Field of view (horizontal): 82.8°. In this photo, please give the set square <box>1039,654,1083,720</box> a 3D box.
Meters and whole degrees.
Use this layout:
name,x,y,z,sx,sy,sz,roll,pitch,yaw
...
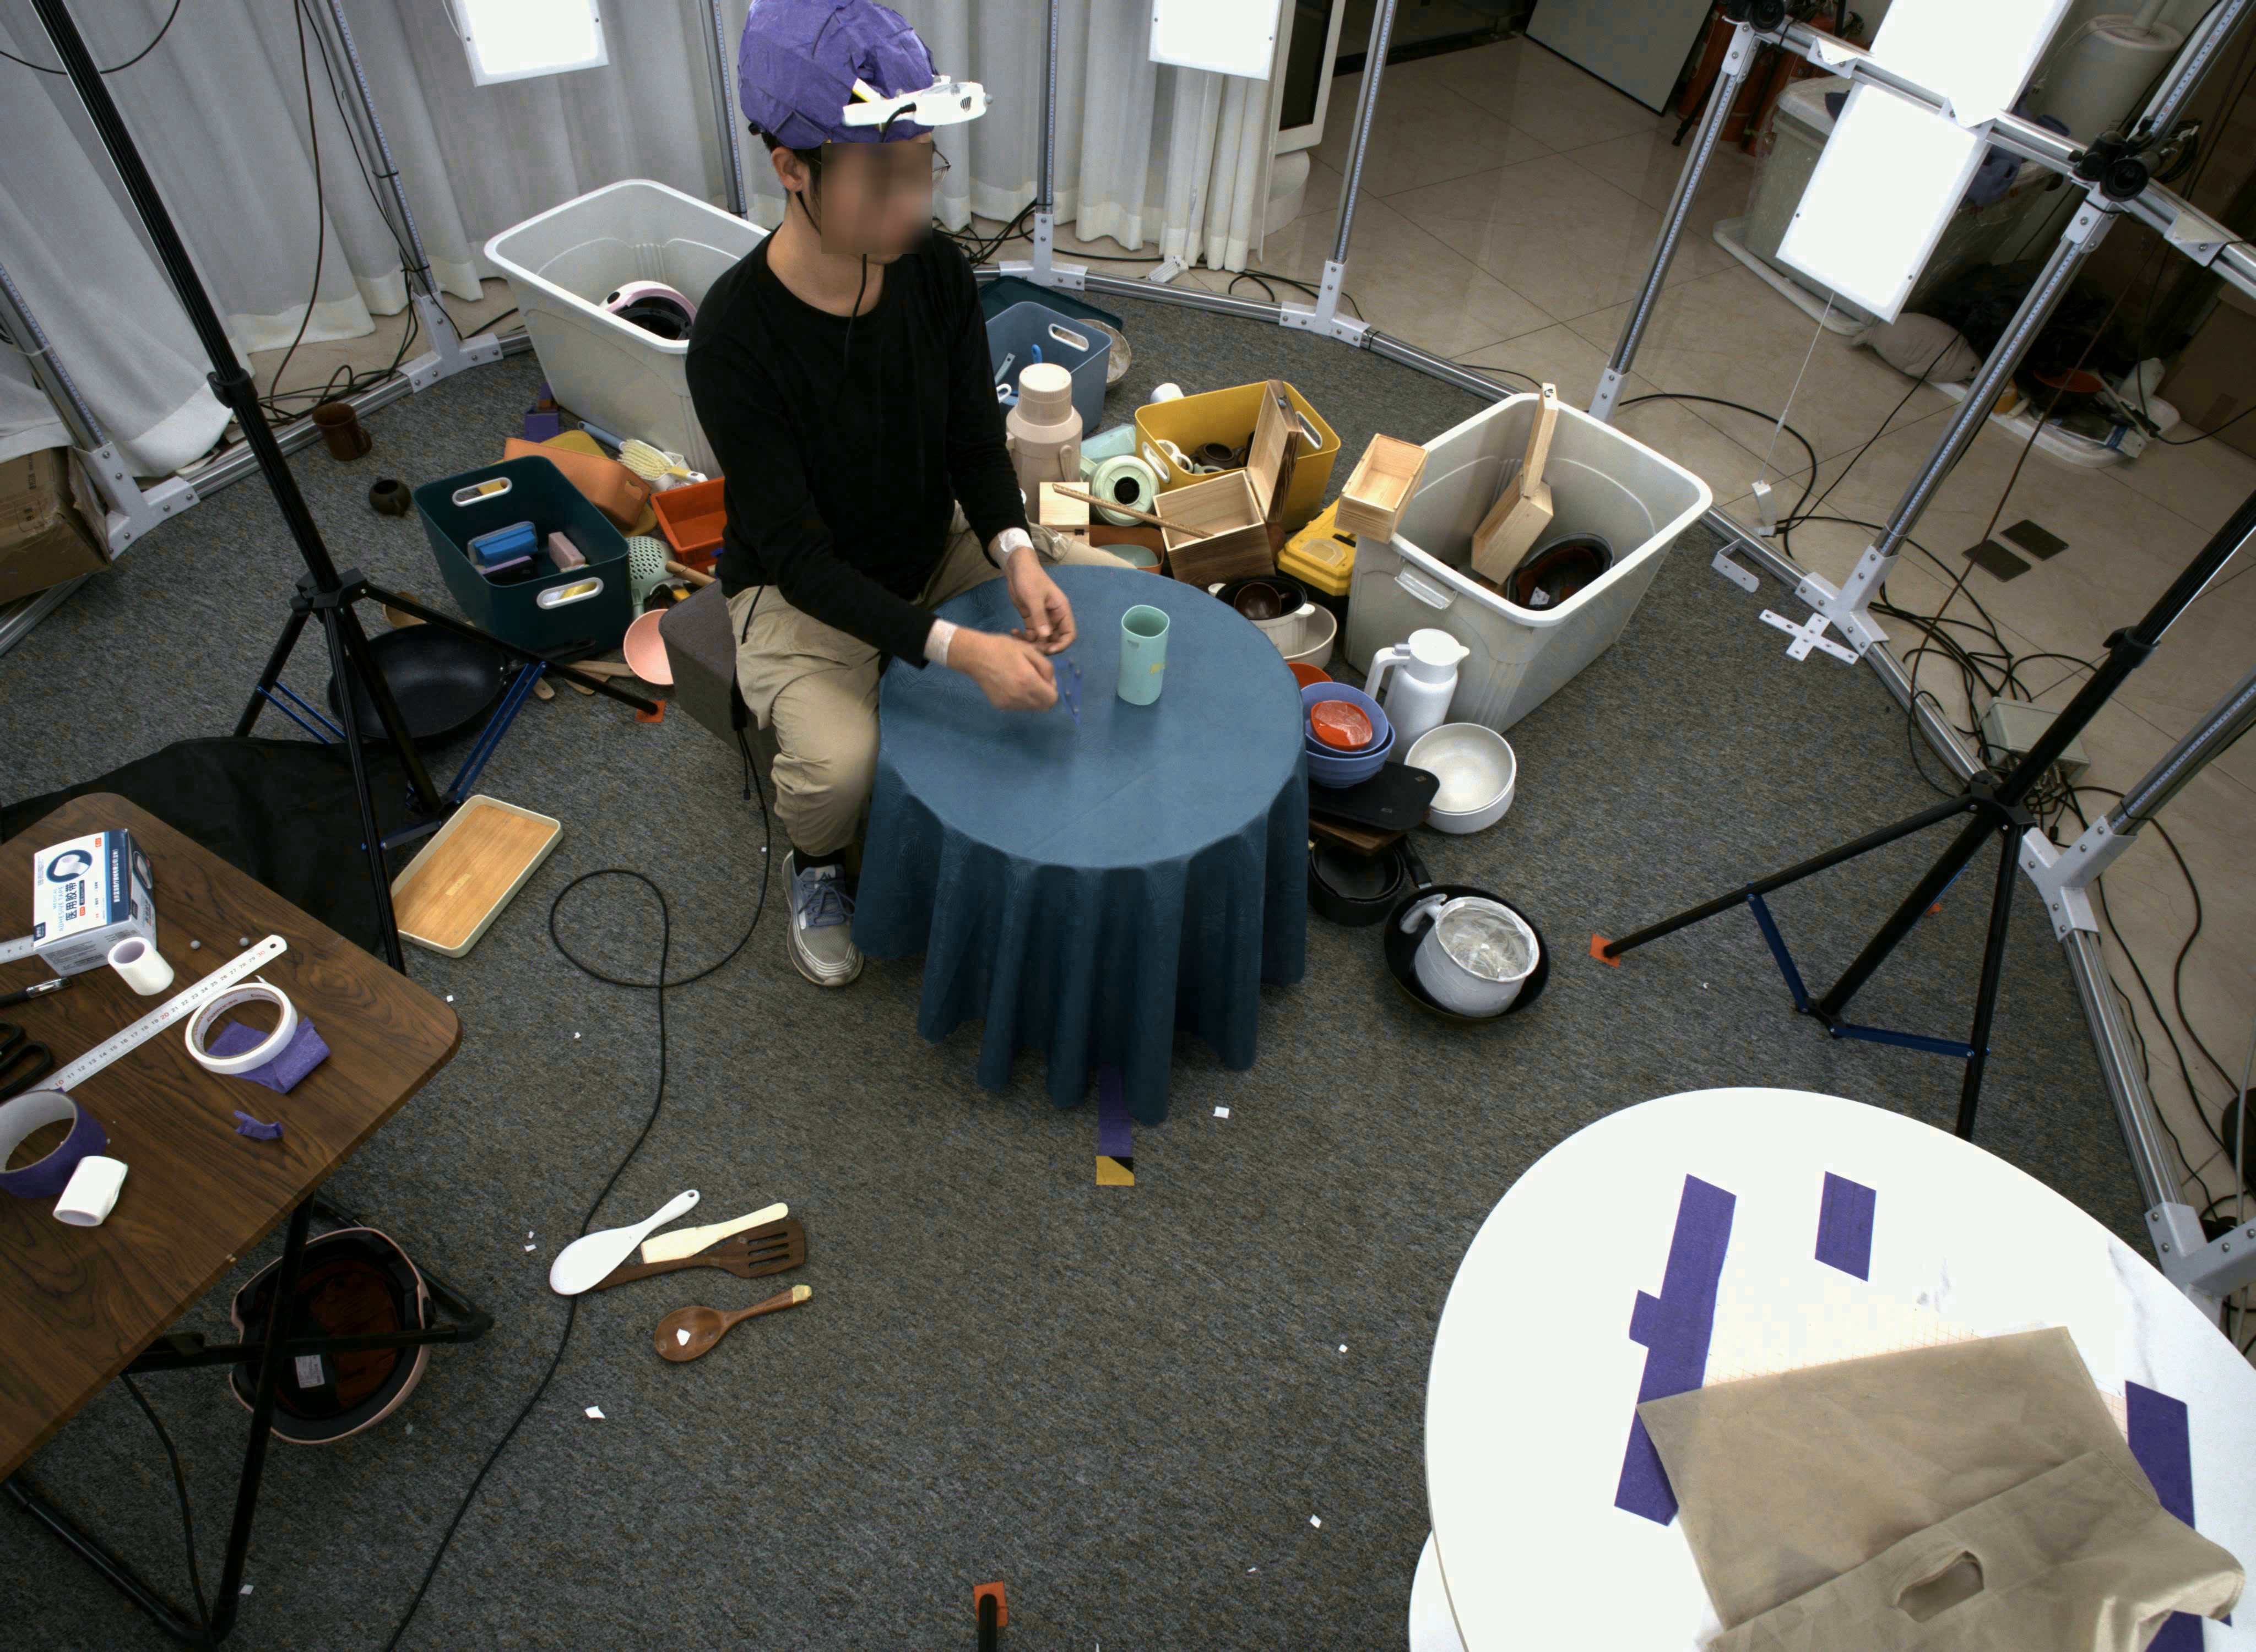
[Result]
name,x,y,z,sx,sy,sz,roll,pitch,yaw
set square,-0.098,-0.194,1.714,0.061,0.006,0.135,18,46,-6

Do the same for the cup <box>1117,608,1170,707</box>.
name,x,y,z,sx,sy,sz,roll,pitch,yaw
cup,0.019,-0.236,1.796,0.066,0.129,0.068,2,50,-3
